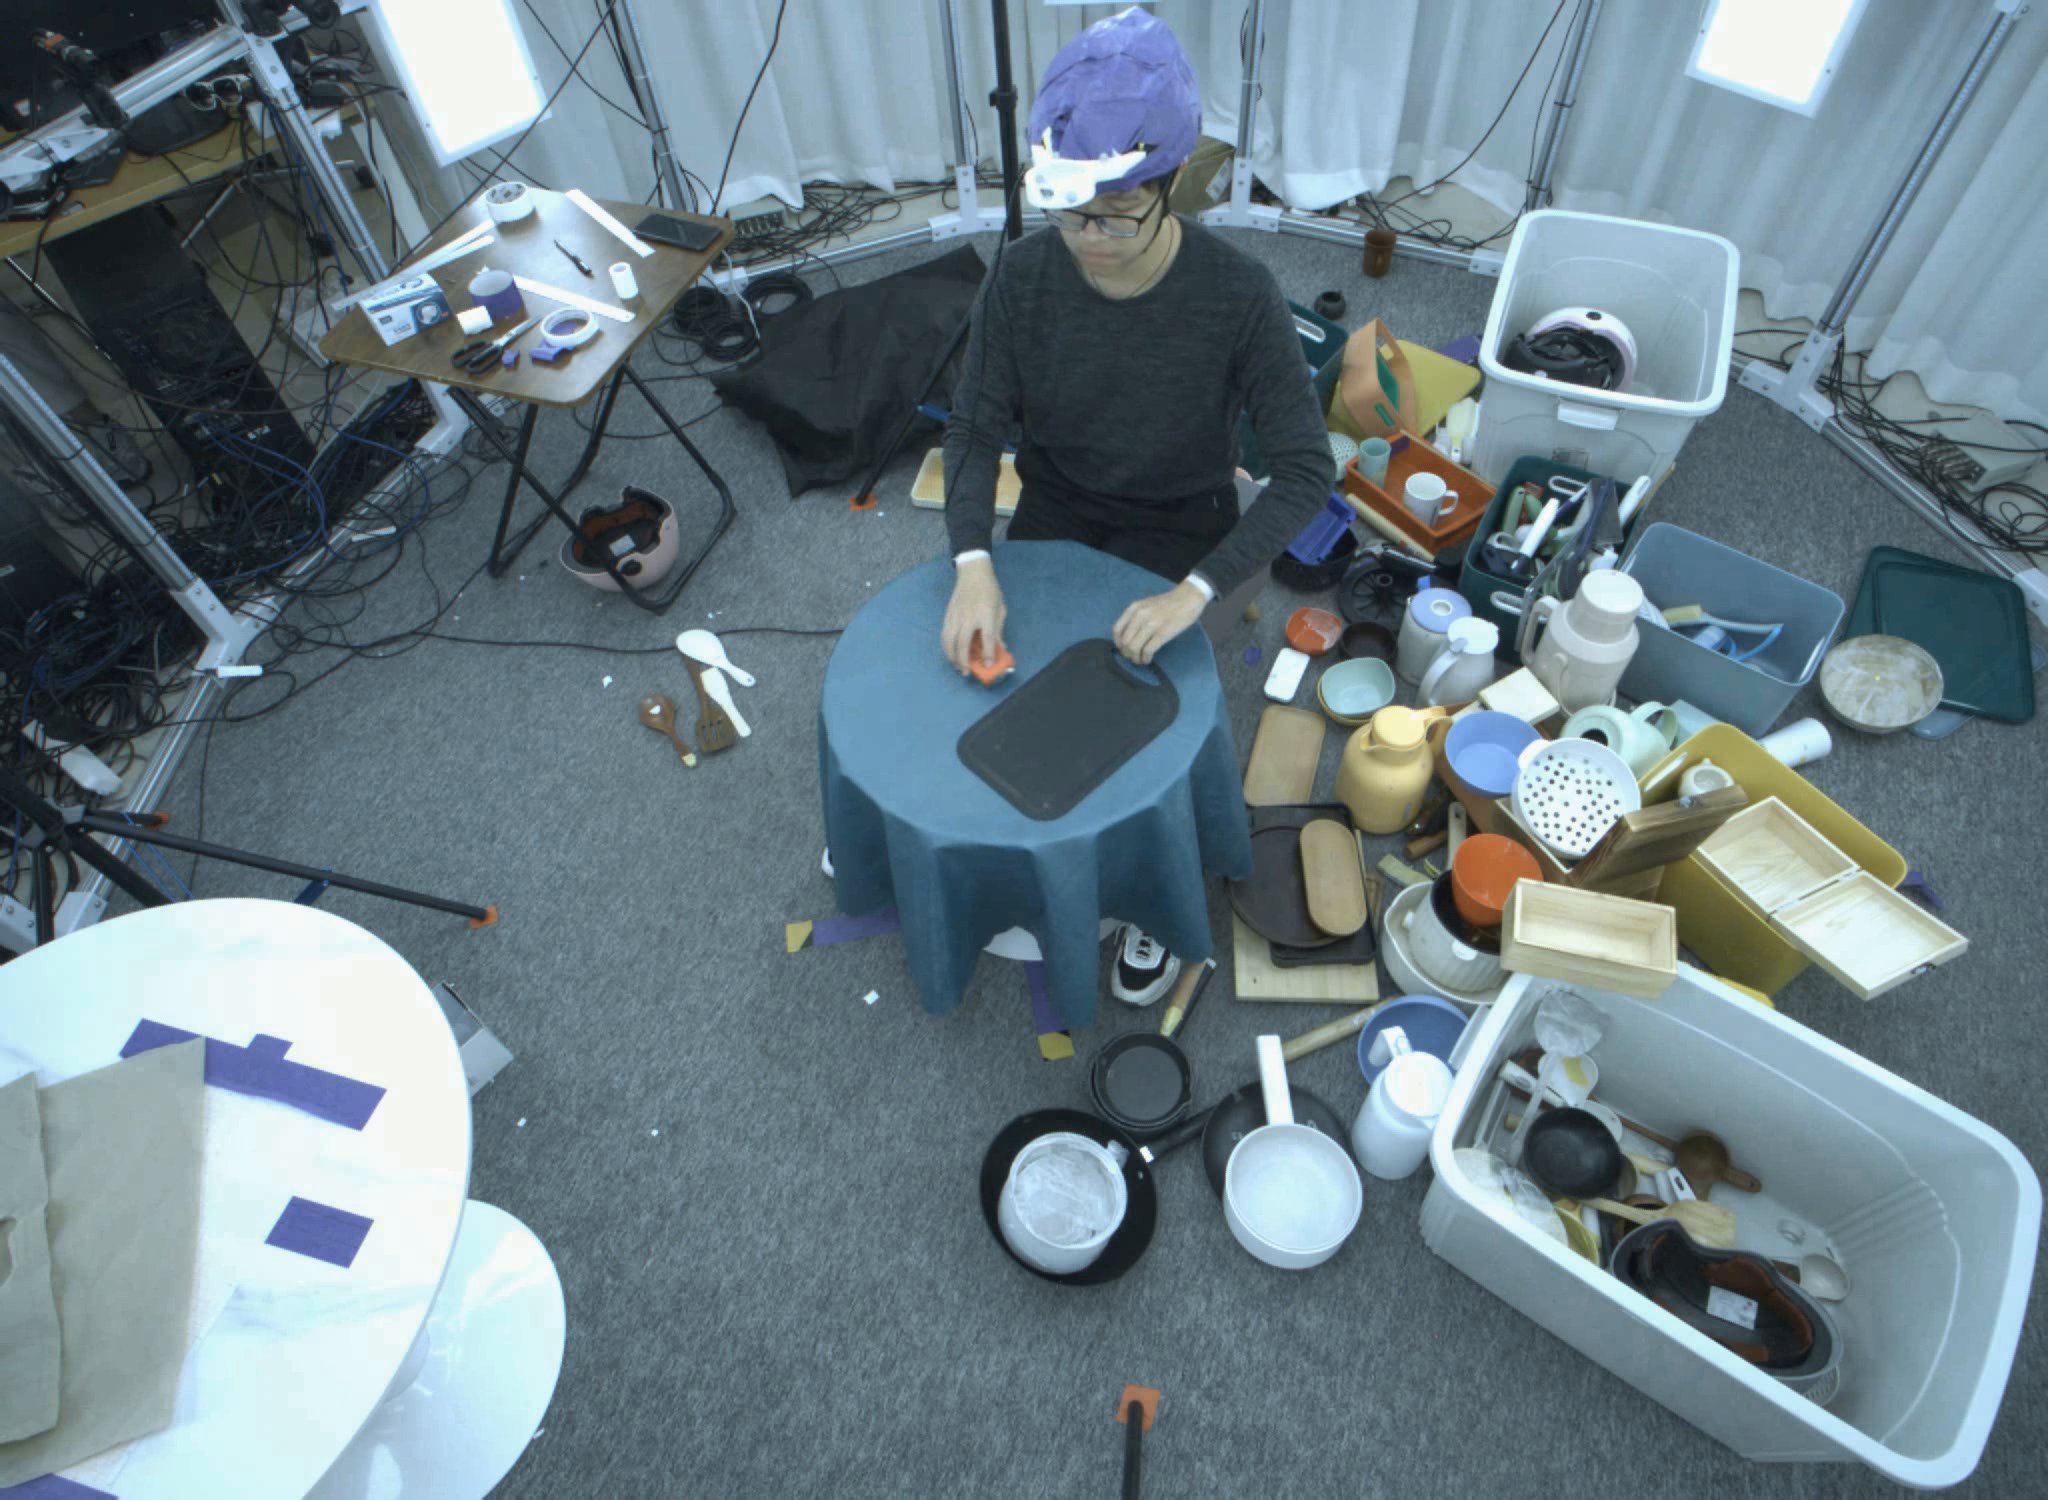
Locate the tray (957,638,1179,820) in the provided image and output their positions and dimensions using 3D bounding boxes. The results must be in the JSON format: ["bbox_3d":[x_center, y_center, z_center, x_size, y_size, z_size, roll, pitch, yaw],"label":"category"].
[{"bbox_3d":[0.071,-0.044,1.810,0.327,0.010,0.207,-39,63,-22],"label":"tray"}]

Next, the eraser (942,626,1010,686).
[{"bbox_3d":[-0.073,-0.144,1.863,0.059,0.023,0.105,-37,53,-16],"label":"eraser"}]
